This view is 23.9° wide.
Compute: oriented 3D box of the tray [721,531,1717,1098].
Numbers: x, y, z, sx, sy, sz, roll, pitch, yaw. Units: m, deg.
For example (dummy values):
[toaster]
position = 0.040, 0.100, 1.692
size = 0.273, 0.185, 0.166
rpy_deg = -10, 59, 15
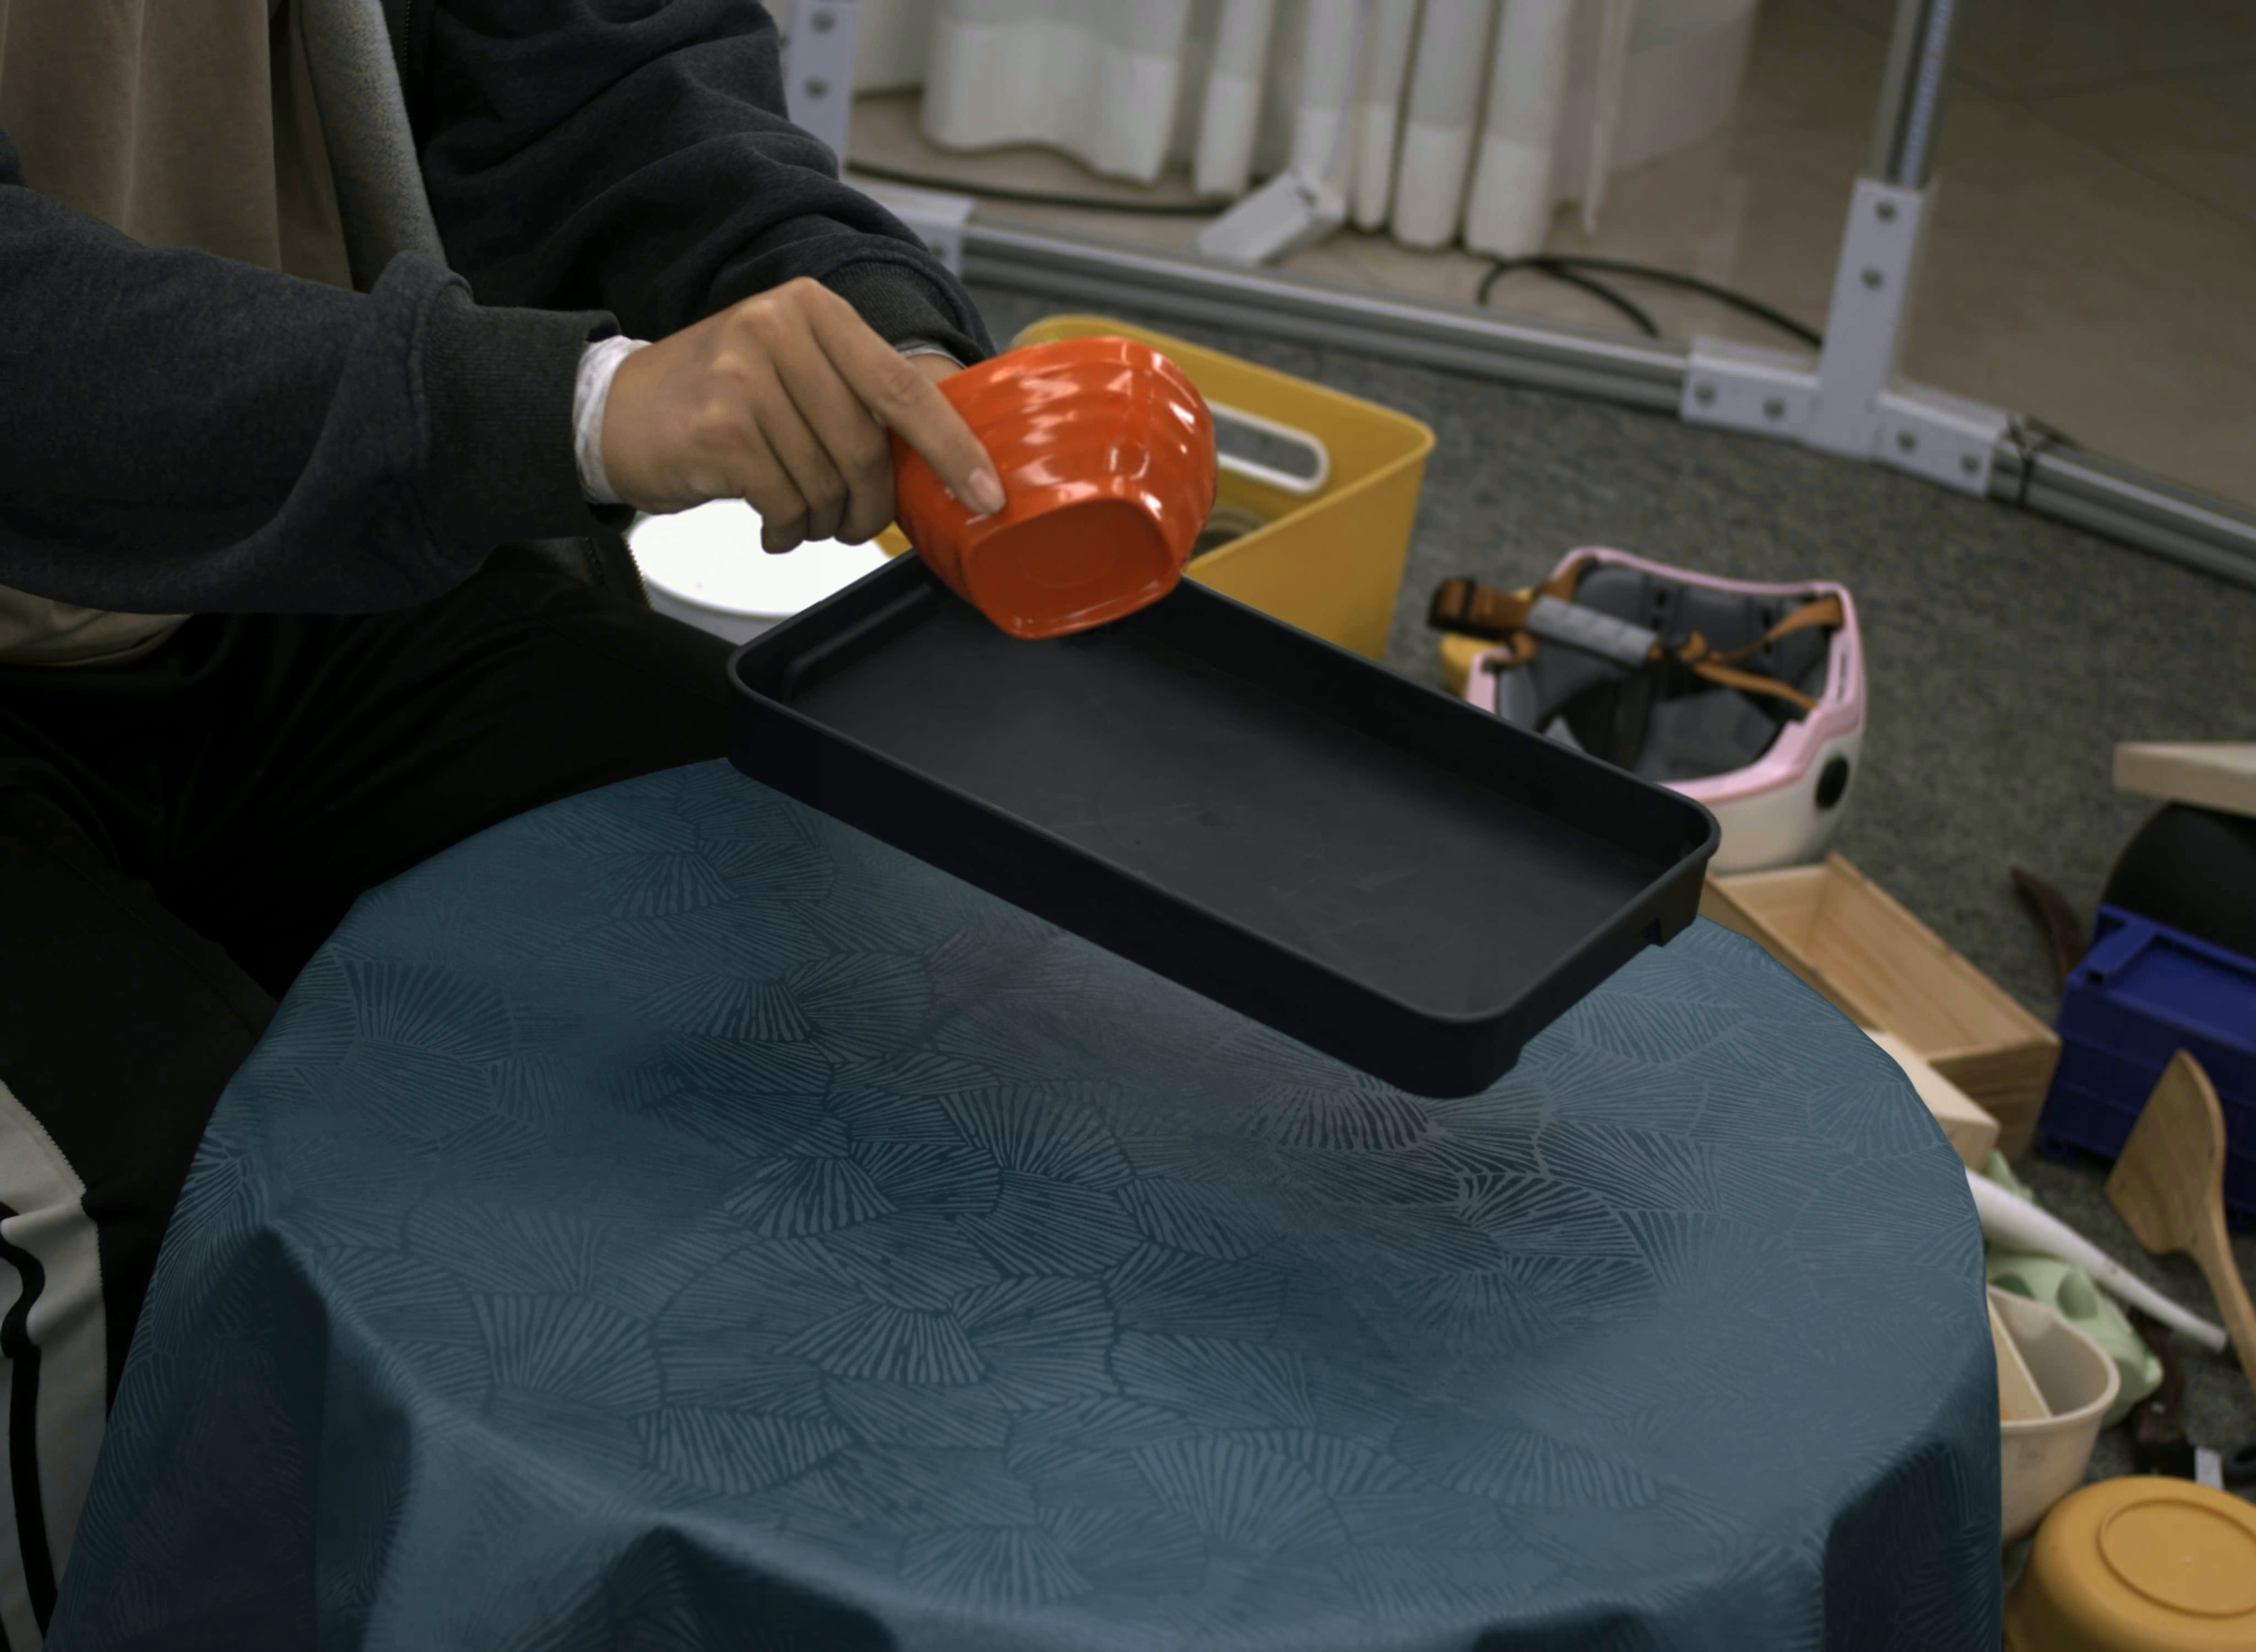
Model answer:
[tray]
position = 0.029, -0.016, 1.840
size = 0.320, 0.037, 0.184
rpy_deg = 26, 36, 25

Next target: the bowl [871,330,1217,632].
[bowl]
position = -0.024, -0.105, 1.727
size = 0.118, 0.118, 0.052
rpy_deg = 0, 56, -15
